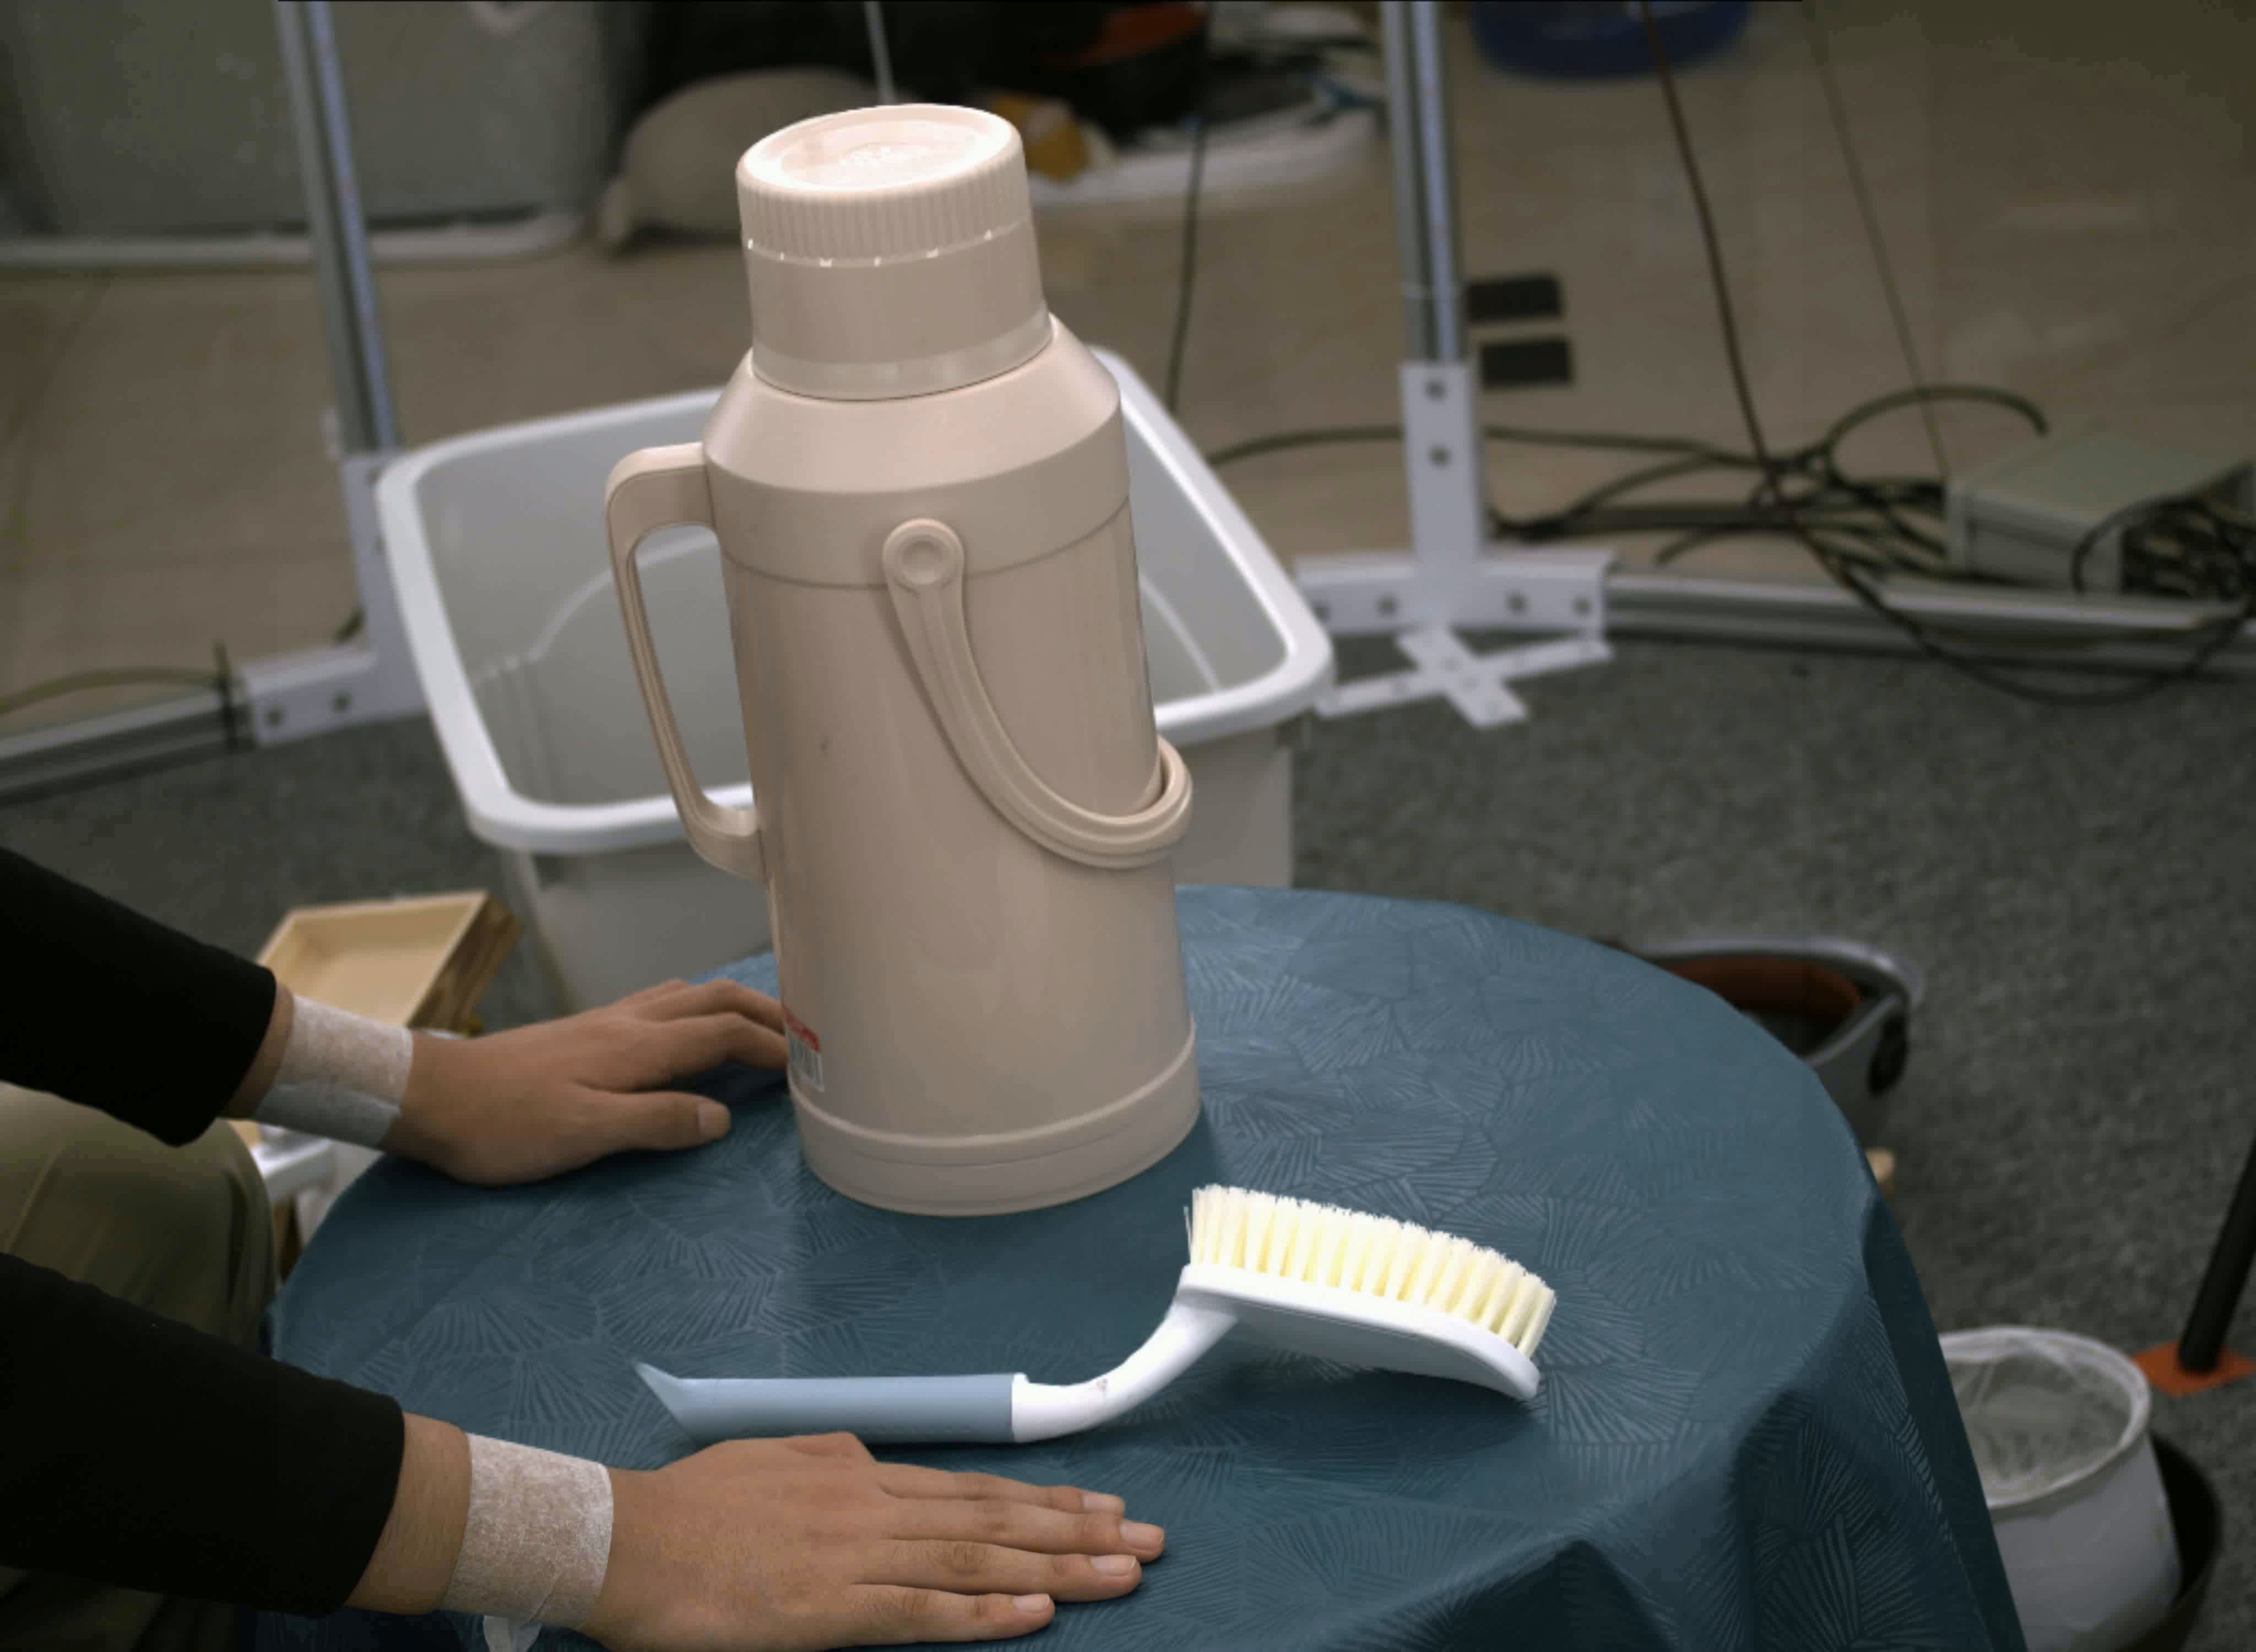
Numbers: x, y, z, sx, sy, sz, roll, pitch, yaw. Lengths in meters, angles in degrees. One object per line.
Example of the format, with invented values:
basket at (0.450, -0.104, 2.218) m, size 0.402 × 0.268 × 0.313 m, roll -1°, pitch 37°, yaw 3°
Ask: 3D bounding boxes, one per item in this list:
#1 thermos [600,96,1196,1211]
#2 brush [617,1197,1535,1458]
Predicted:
thermos at (-0.085, -0.064, 2.127) m, size 0.206 × 0.413 × 0.172 m, roll -7°, pitch 27°, yaw -1°
brush at (-0.020, 0.168, 1.995) m, size 0.325 × 0.084 × 0.083 m, roll -1°, pitch 31°, yaw 7°
